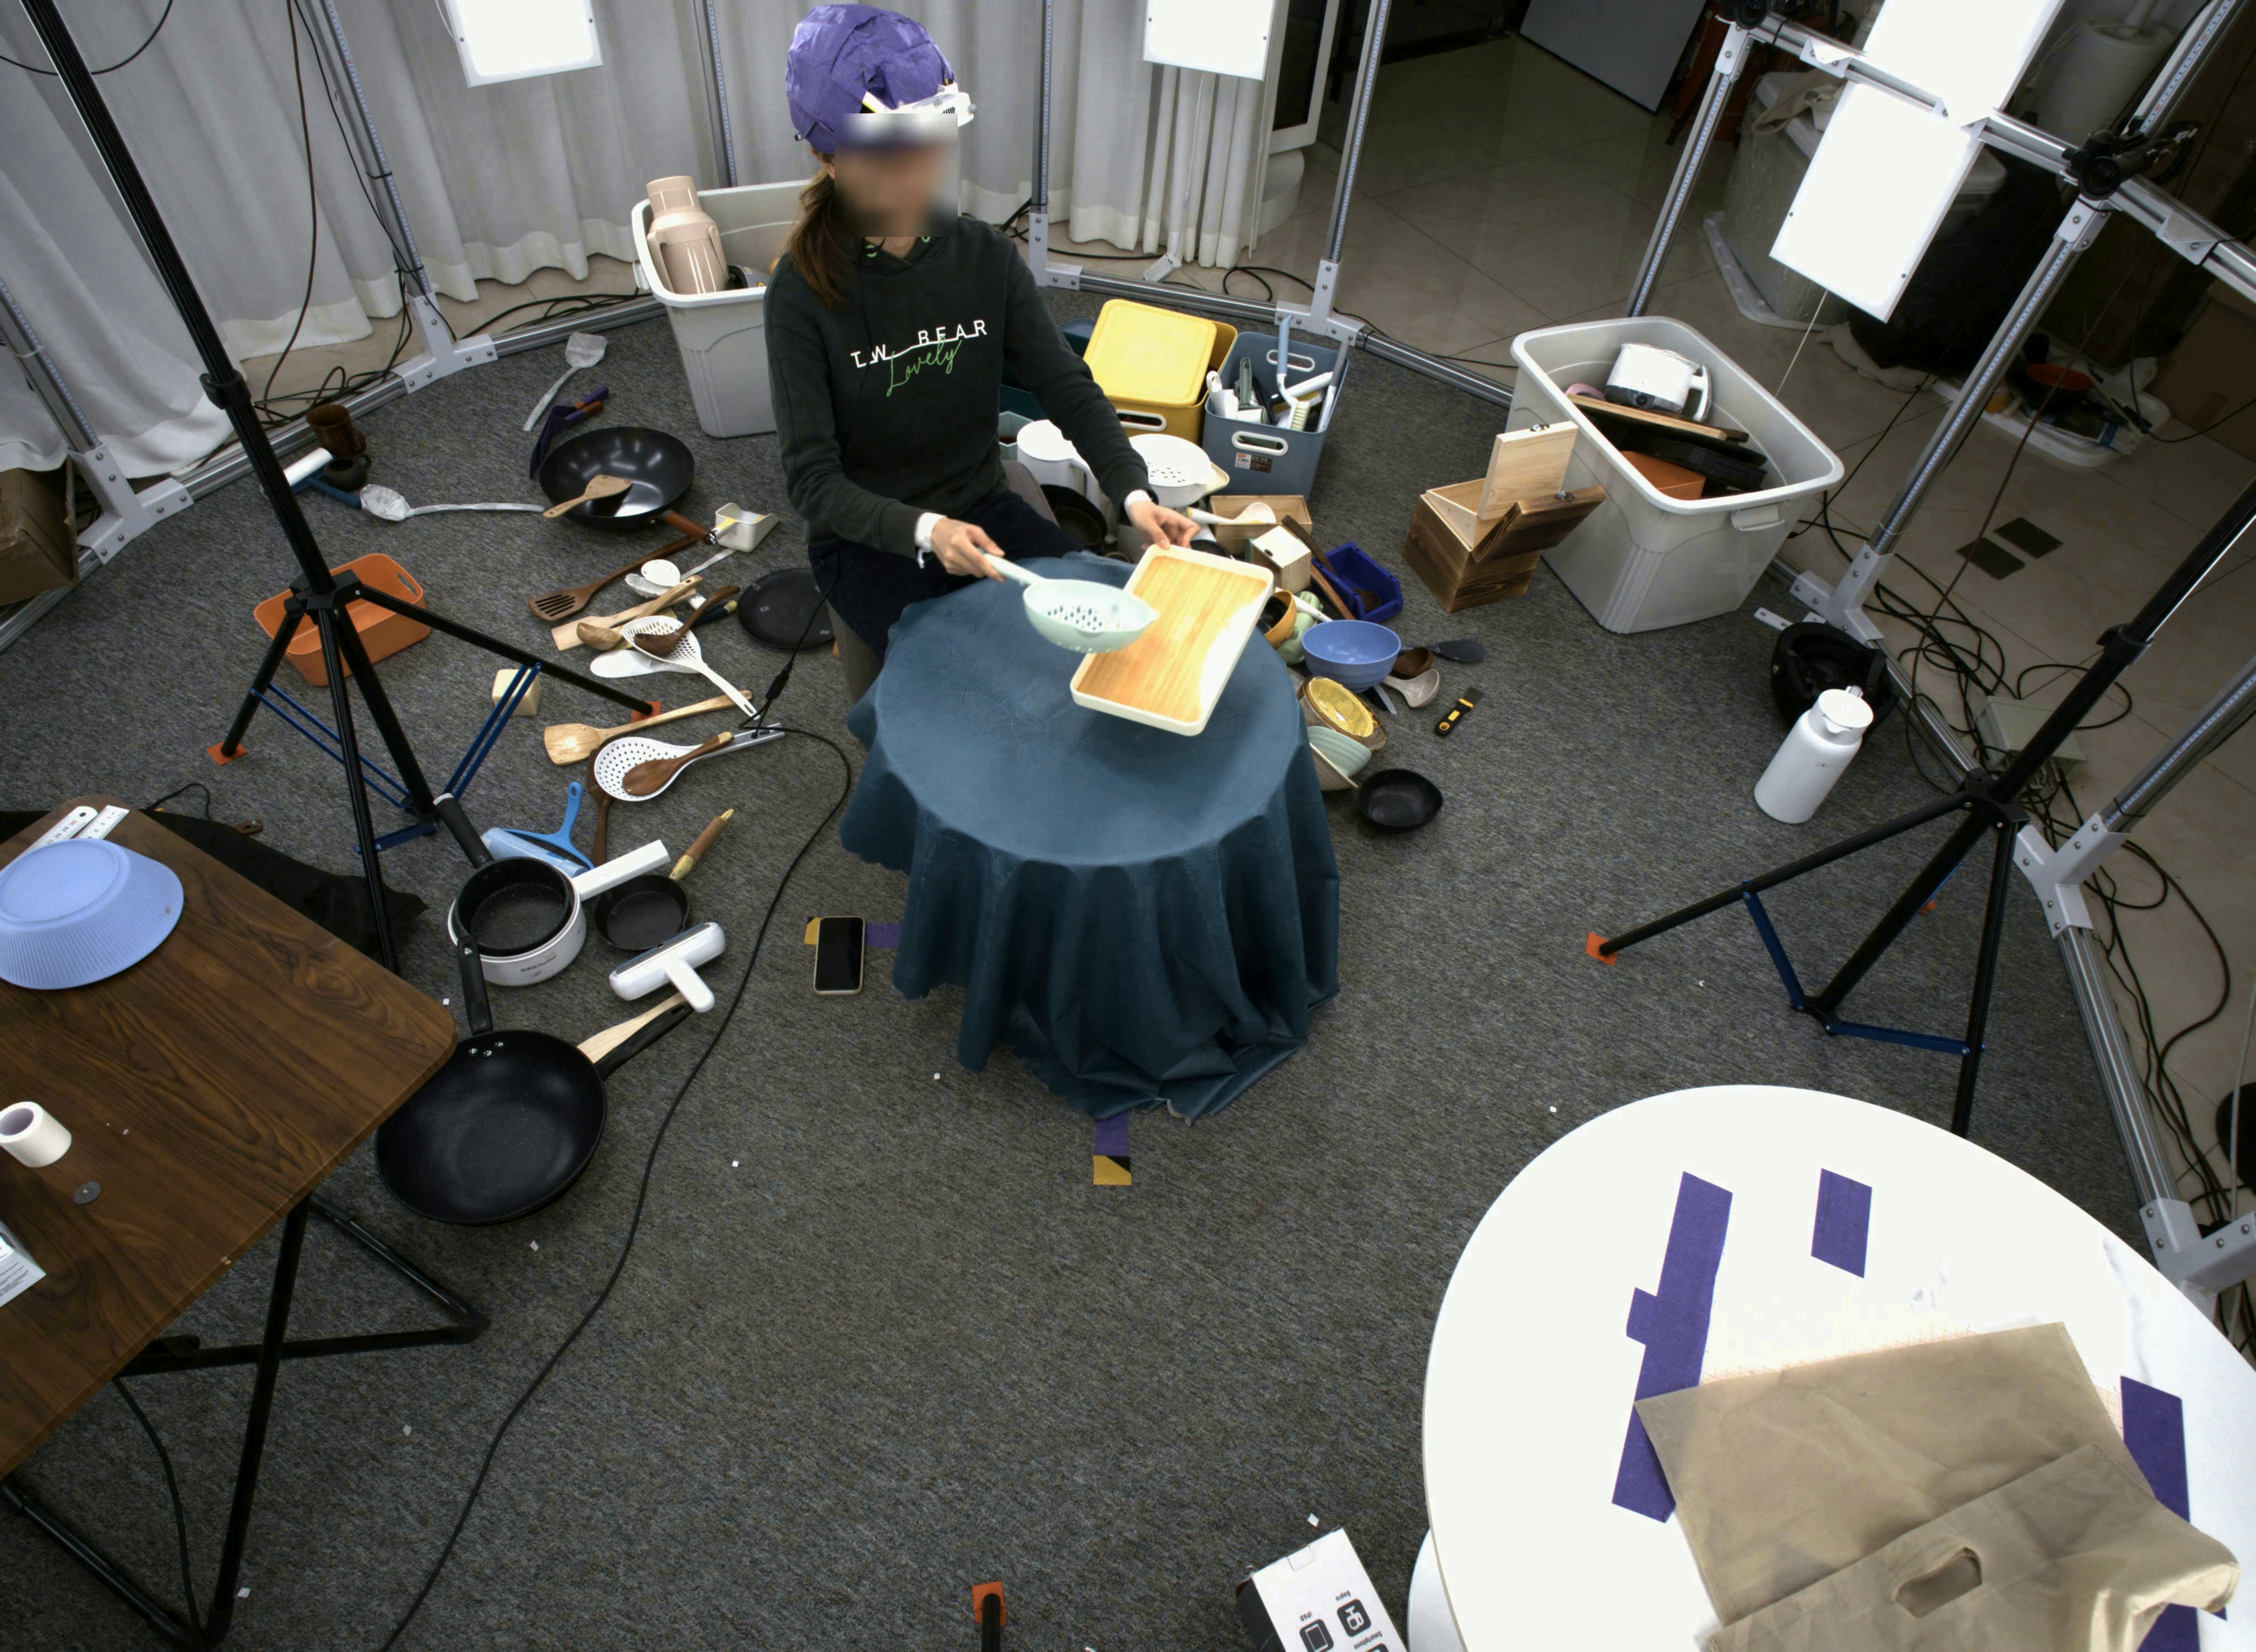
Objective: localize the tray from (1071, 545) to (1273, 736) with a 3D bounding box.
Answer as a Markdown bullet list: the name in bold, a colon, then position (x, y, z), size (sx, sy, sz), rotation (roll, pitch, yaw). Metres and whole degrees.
- **tray**: position (0.064, -0.261, 1.769), size (0.193, 0.027, 0.305), rotation (17, 57, 18)

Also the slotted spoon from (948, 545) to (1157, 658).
- **slotted spoon**: position (-0.125, -0.318, 1.740), size (0.170, 0.074, 0.365), rotation (-17, 47, -43)
